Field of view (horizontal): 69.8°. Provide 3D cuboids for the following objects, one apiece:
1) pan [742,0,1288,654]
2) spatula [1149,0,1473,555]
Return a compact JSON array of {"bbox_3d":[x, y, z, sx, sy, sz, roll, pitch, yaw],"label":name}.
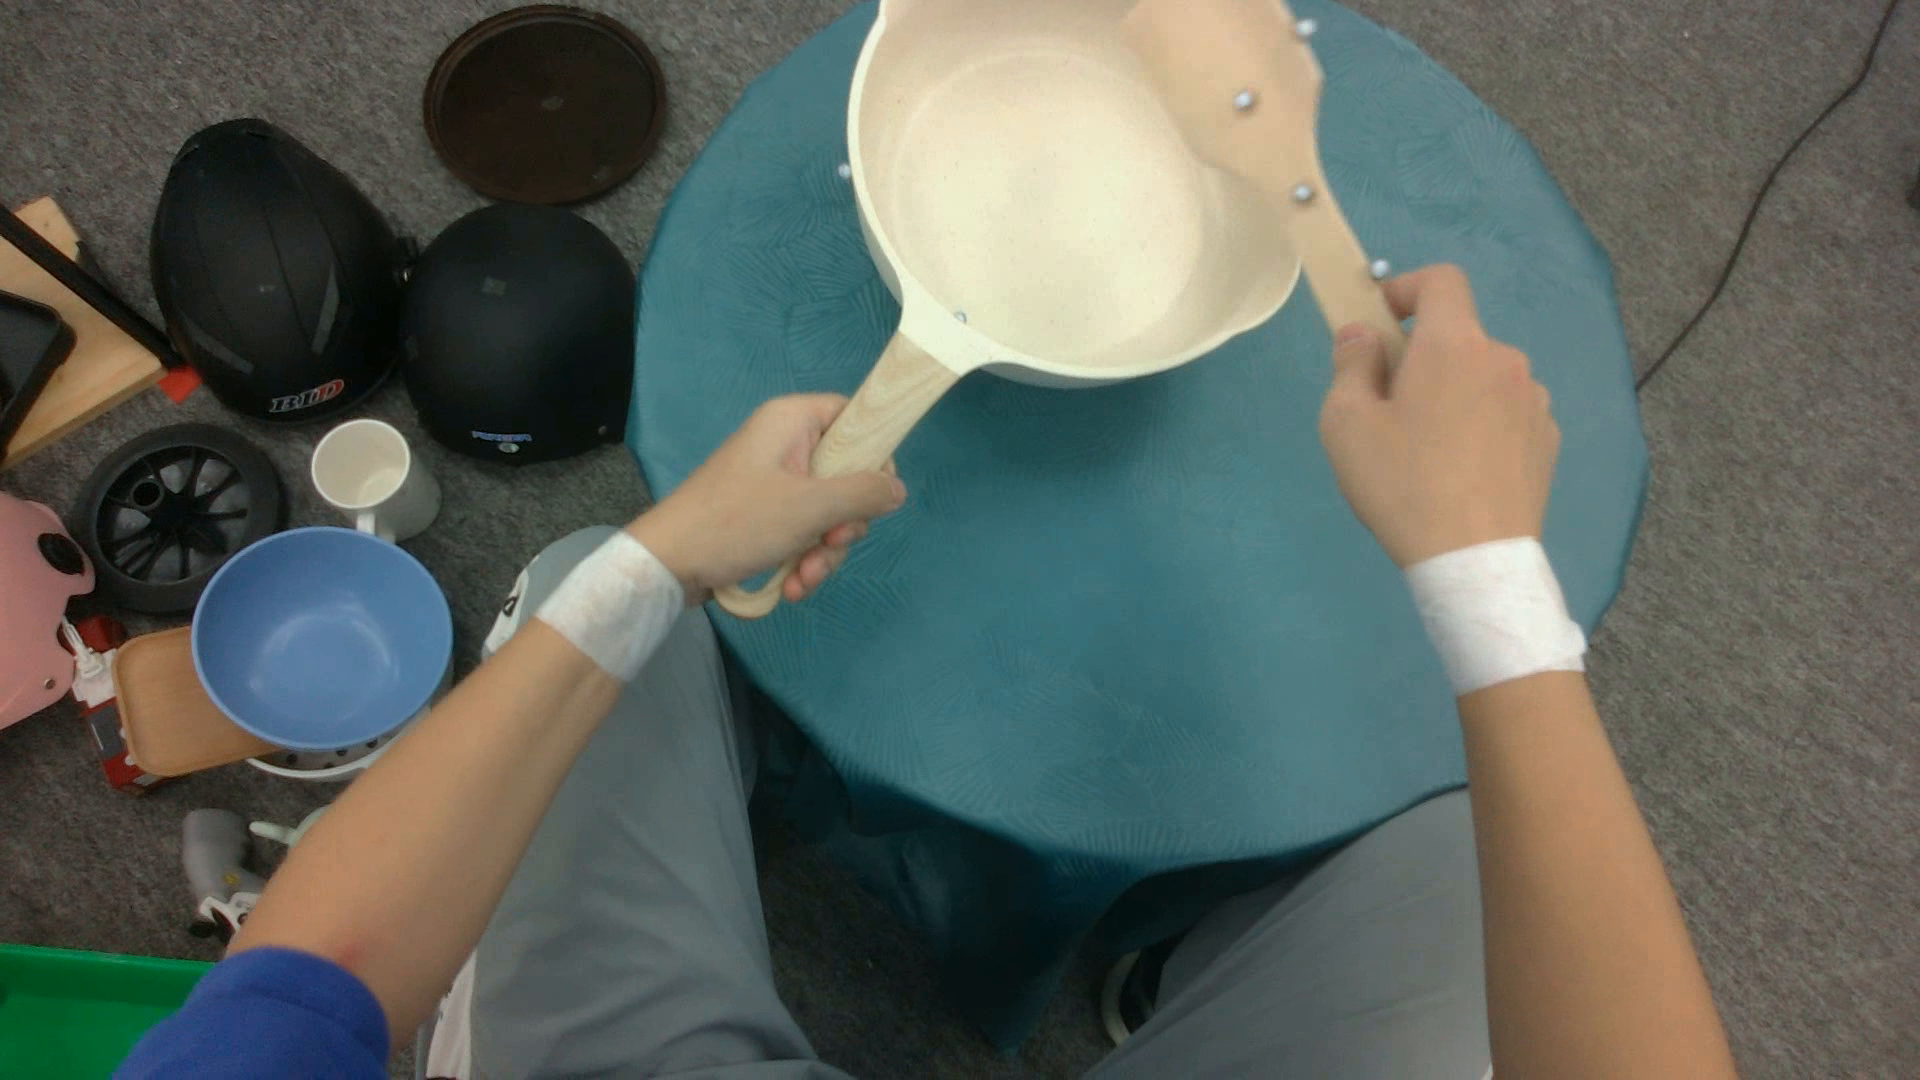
[{"bbox_3d":[0.005,-0.126,0.745,0.263,0.102,0.436,34,78,-7],"label":"pan"},{"bbox_3d":[0.166,-0.131,0.626,0.011,0.072,0.293,-6,72,-53],"label":"spatula"}]
